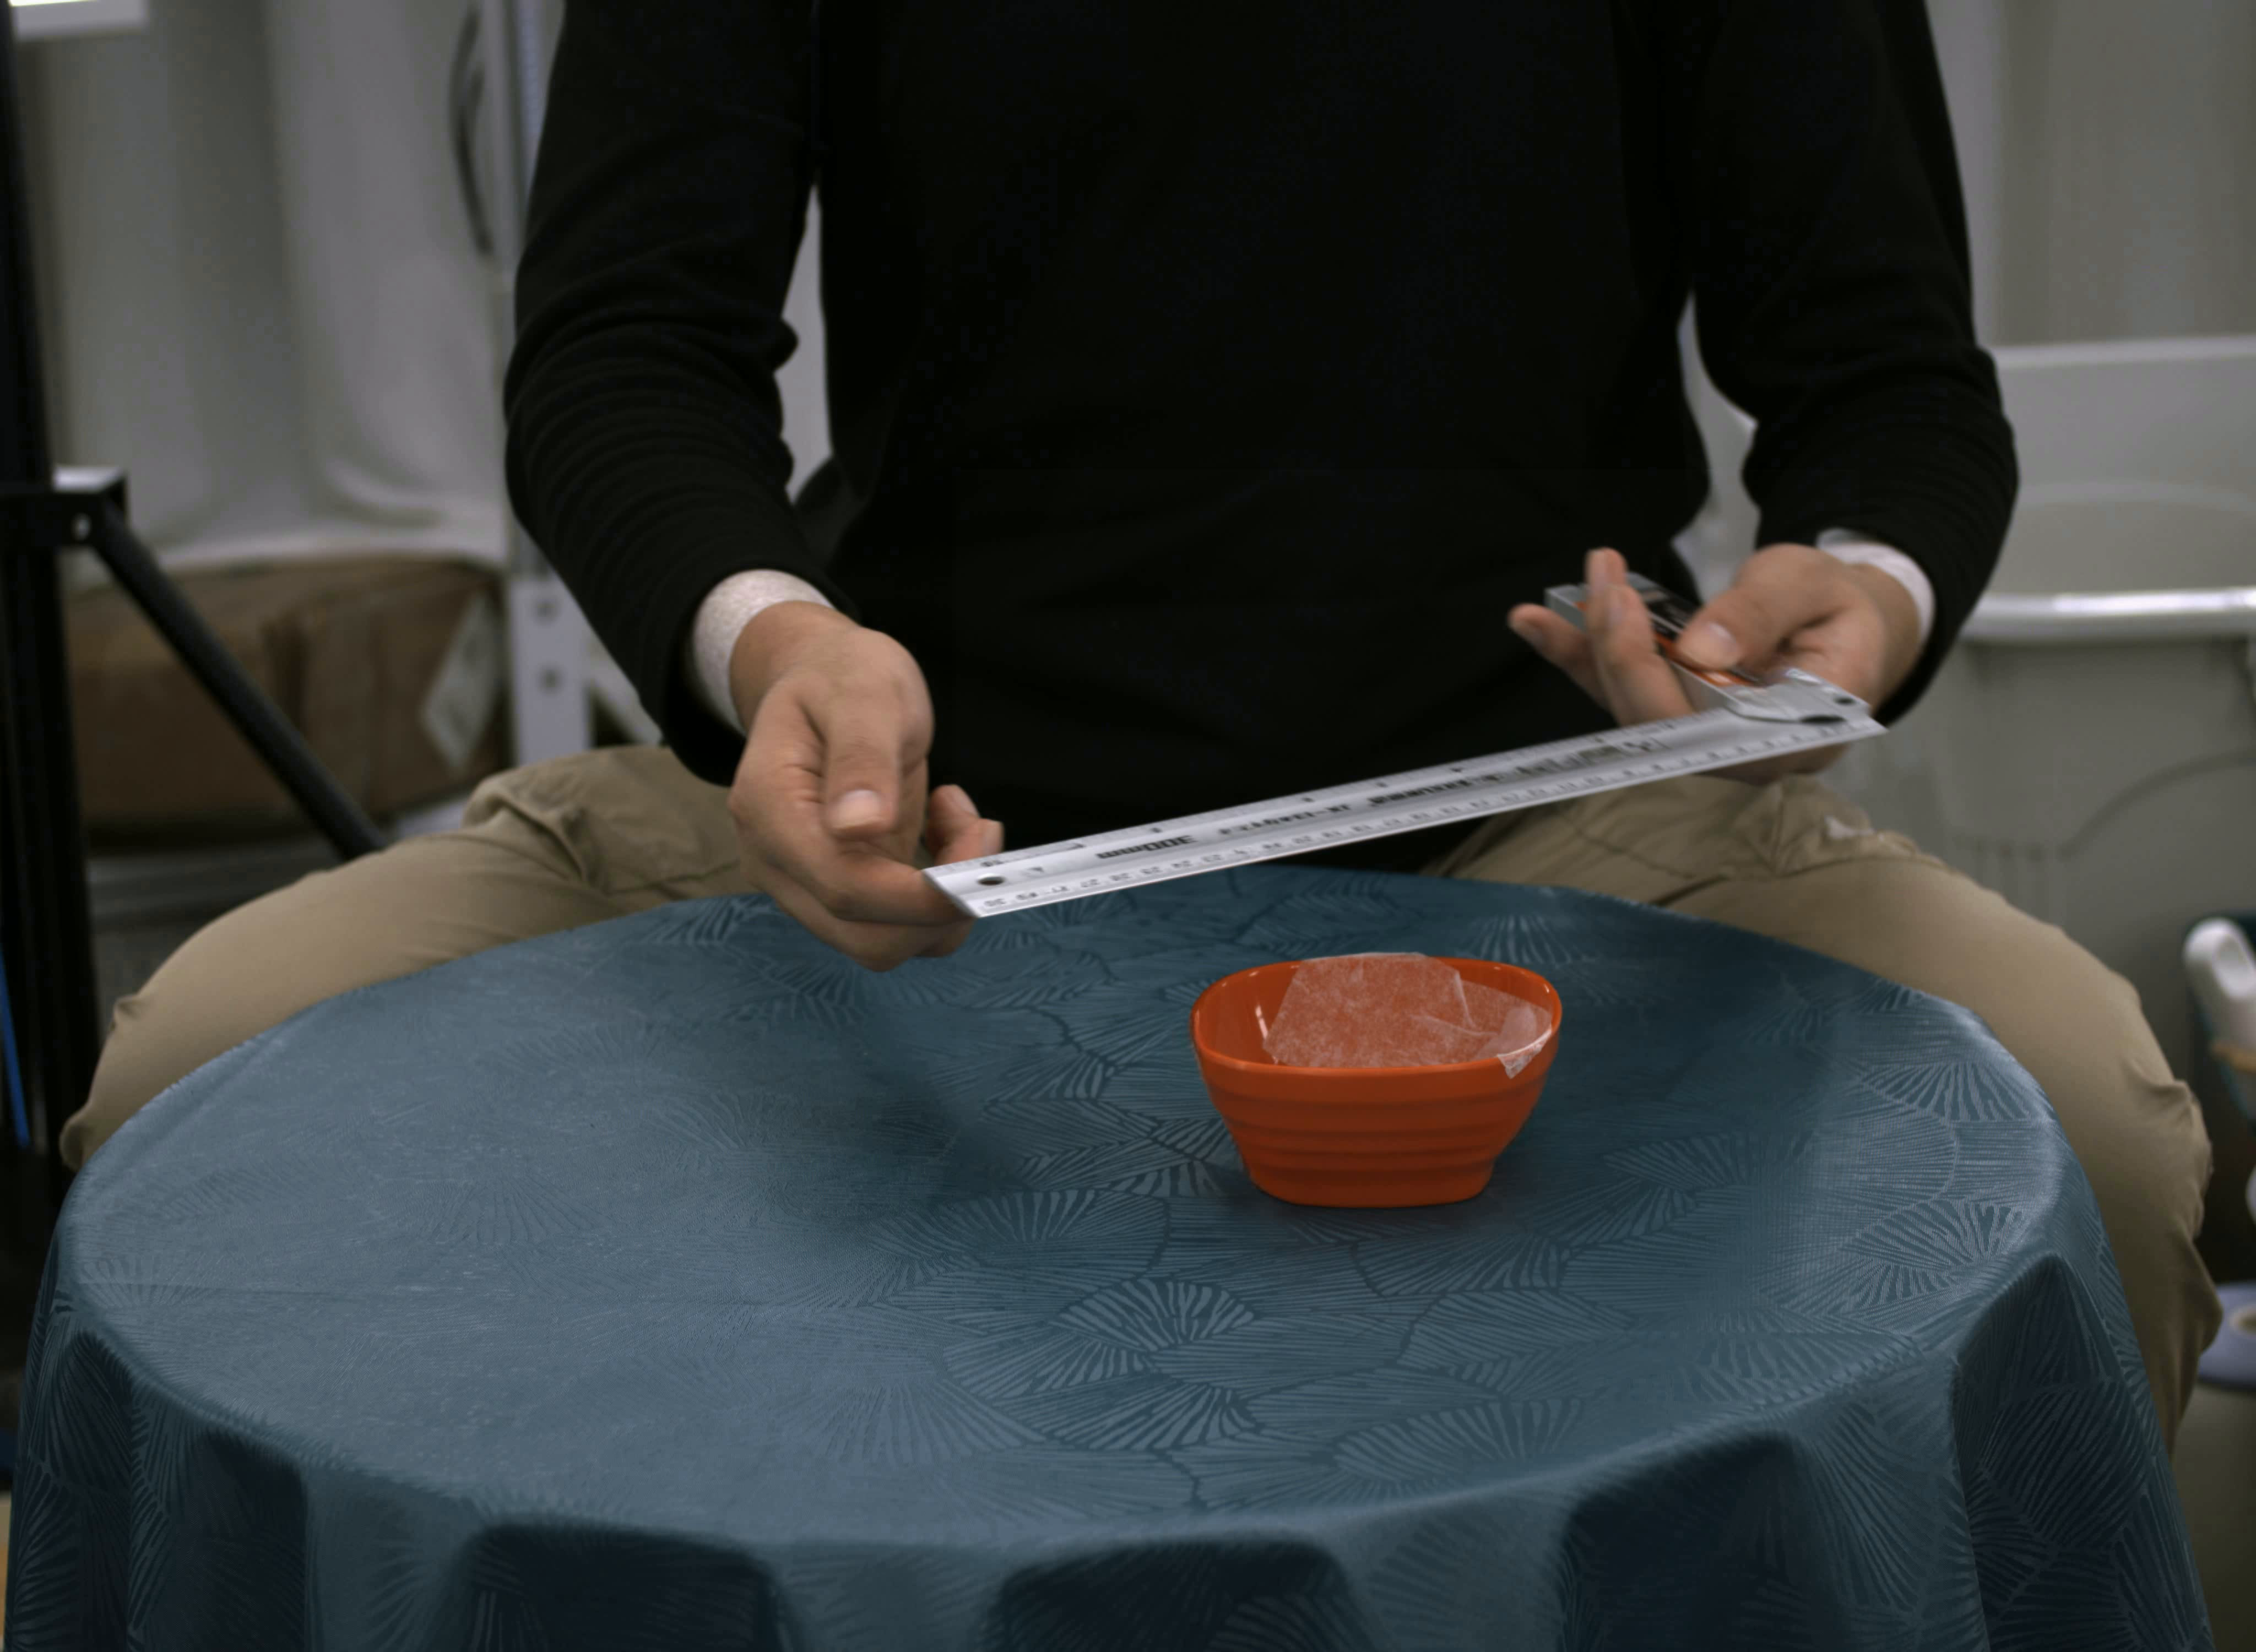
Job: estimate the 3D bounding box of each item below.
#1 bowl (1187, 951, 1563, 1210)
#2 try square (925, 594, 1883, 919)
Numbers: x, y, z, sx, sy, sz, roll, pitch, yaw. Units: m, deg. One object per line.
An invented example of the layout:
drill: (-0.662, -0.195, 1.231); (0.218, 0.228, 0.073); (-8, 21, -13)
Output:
bowl: (0.074, 0.077, 1.557); (0.118, 0.051, 0.119); (-4, 17, 0)
try square: (0.064, -0.023, 1.640); (0.307, 0.016, 0.155); (-12, 20, -22)
